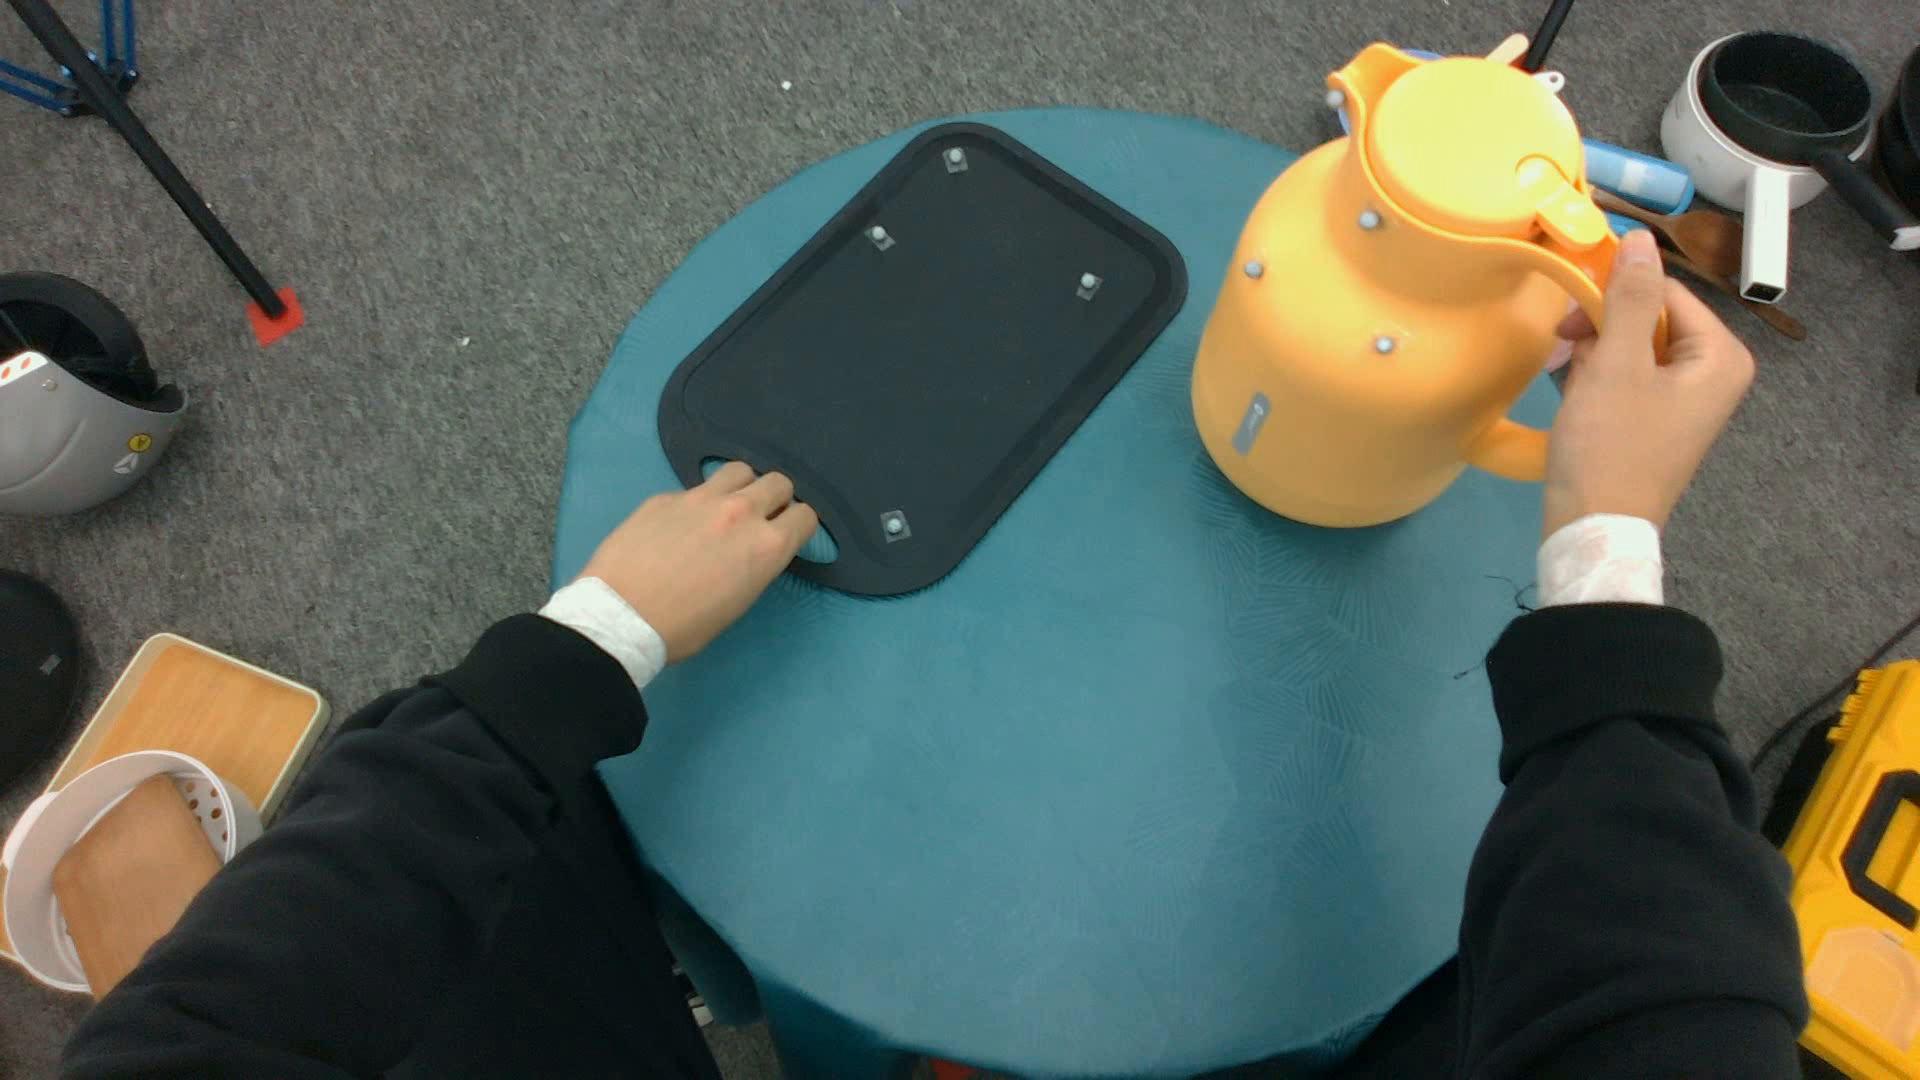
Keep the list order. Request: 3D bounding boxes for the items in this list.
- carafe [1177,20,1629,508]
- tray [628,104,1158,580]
[{"bbox_3d":[0.215,-0.118,0.690,0.164,0.259,0.202,-36,70,-13],"label":"carafe"},{"bbox_3d":[-0.039,-0.125,0.820,0.211,0.010,0.326,36,69,13],"label":"tray"}]
